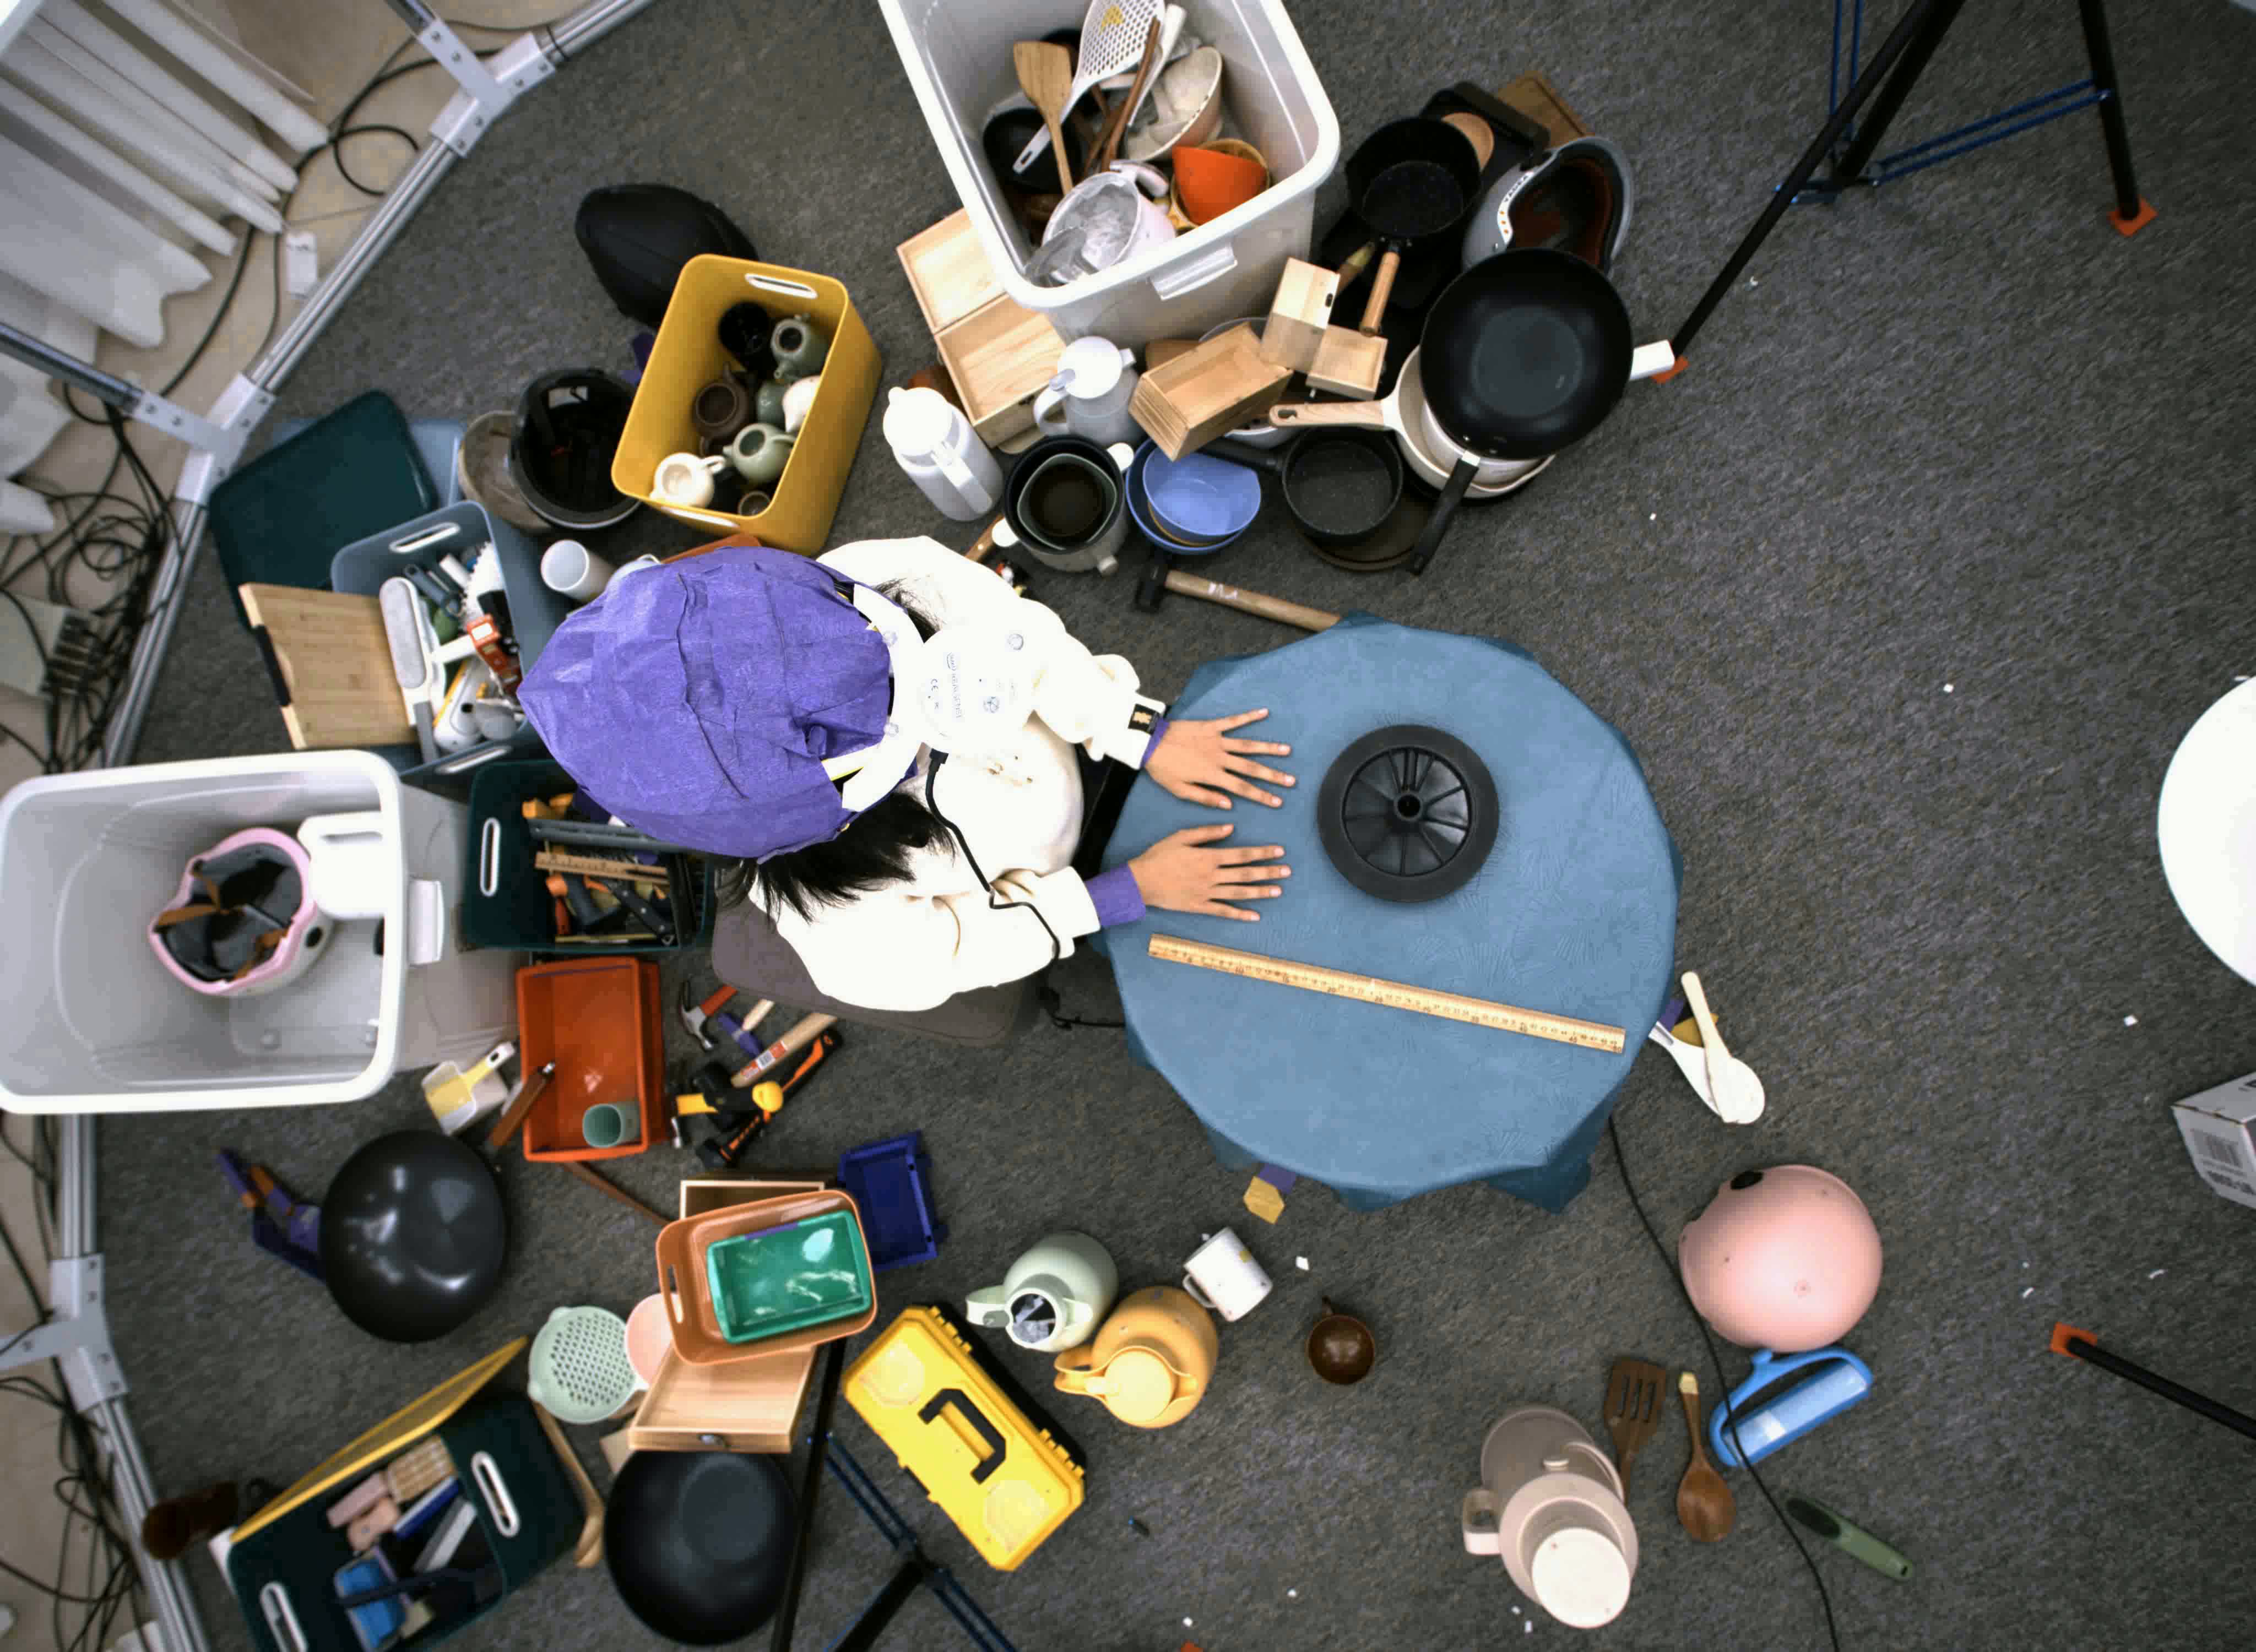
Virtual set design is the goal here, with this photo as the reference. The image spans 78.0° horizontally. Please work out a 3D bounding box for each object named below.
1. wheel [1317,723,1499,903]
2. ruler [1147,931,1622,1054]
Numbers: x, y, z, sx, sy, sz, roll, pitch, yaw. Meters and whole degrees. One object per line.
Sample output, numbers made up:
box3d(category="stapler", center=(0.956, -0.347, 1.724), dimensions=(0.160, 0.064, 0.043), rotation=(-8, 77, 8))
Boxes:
box3d(category="wheel", center=(0.289, -0.018, 1.423), dimensions=(0.188, 0.079, 0.188), rotation=(-18, 83, 9))
box3d(category="ruler", center=(0.263, 0.172, 1.453), dimensions=(0.501, 0.006, 0.027), rotation=(11, 90, 11))
